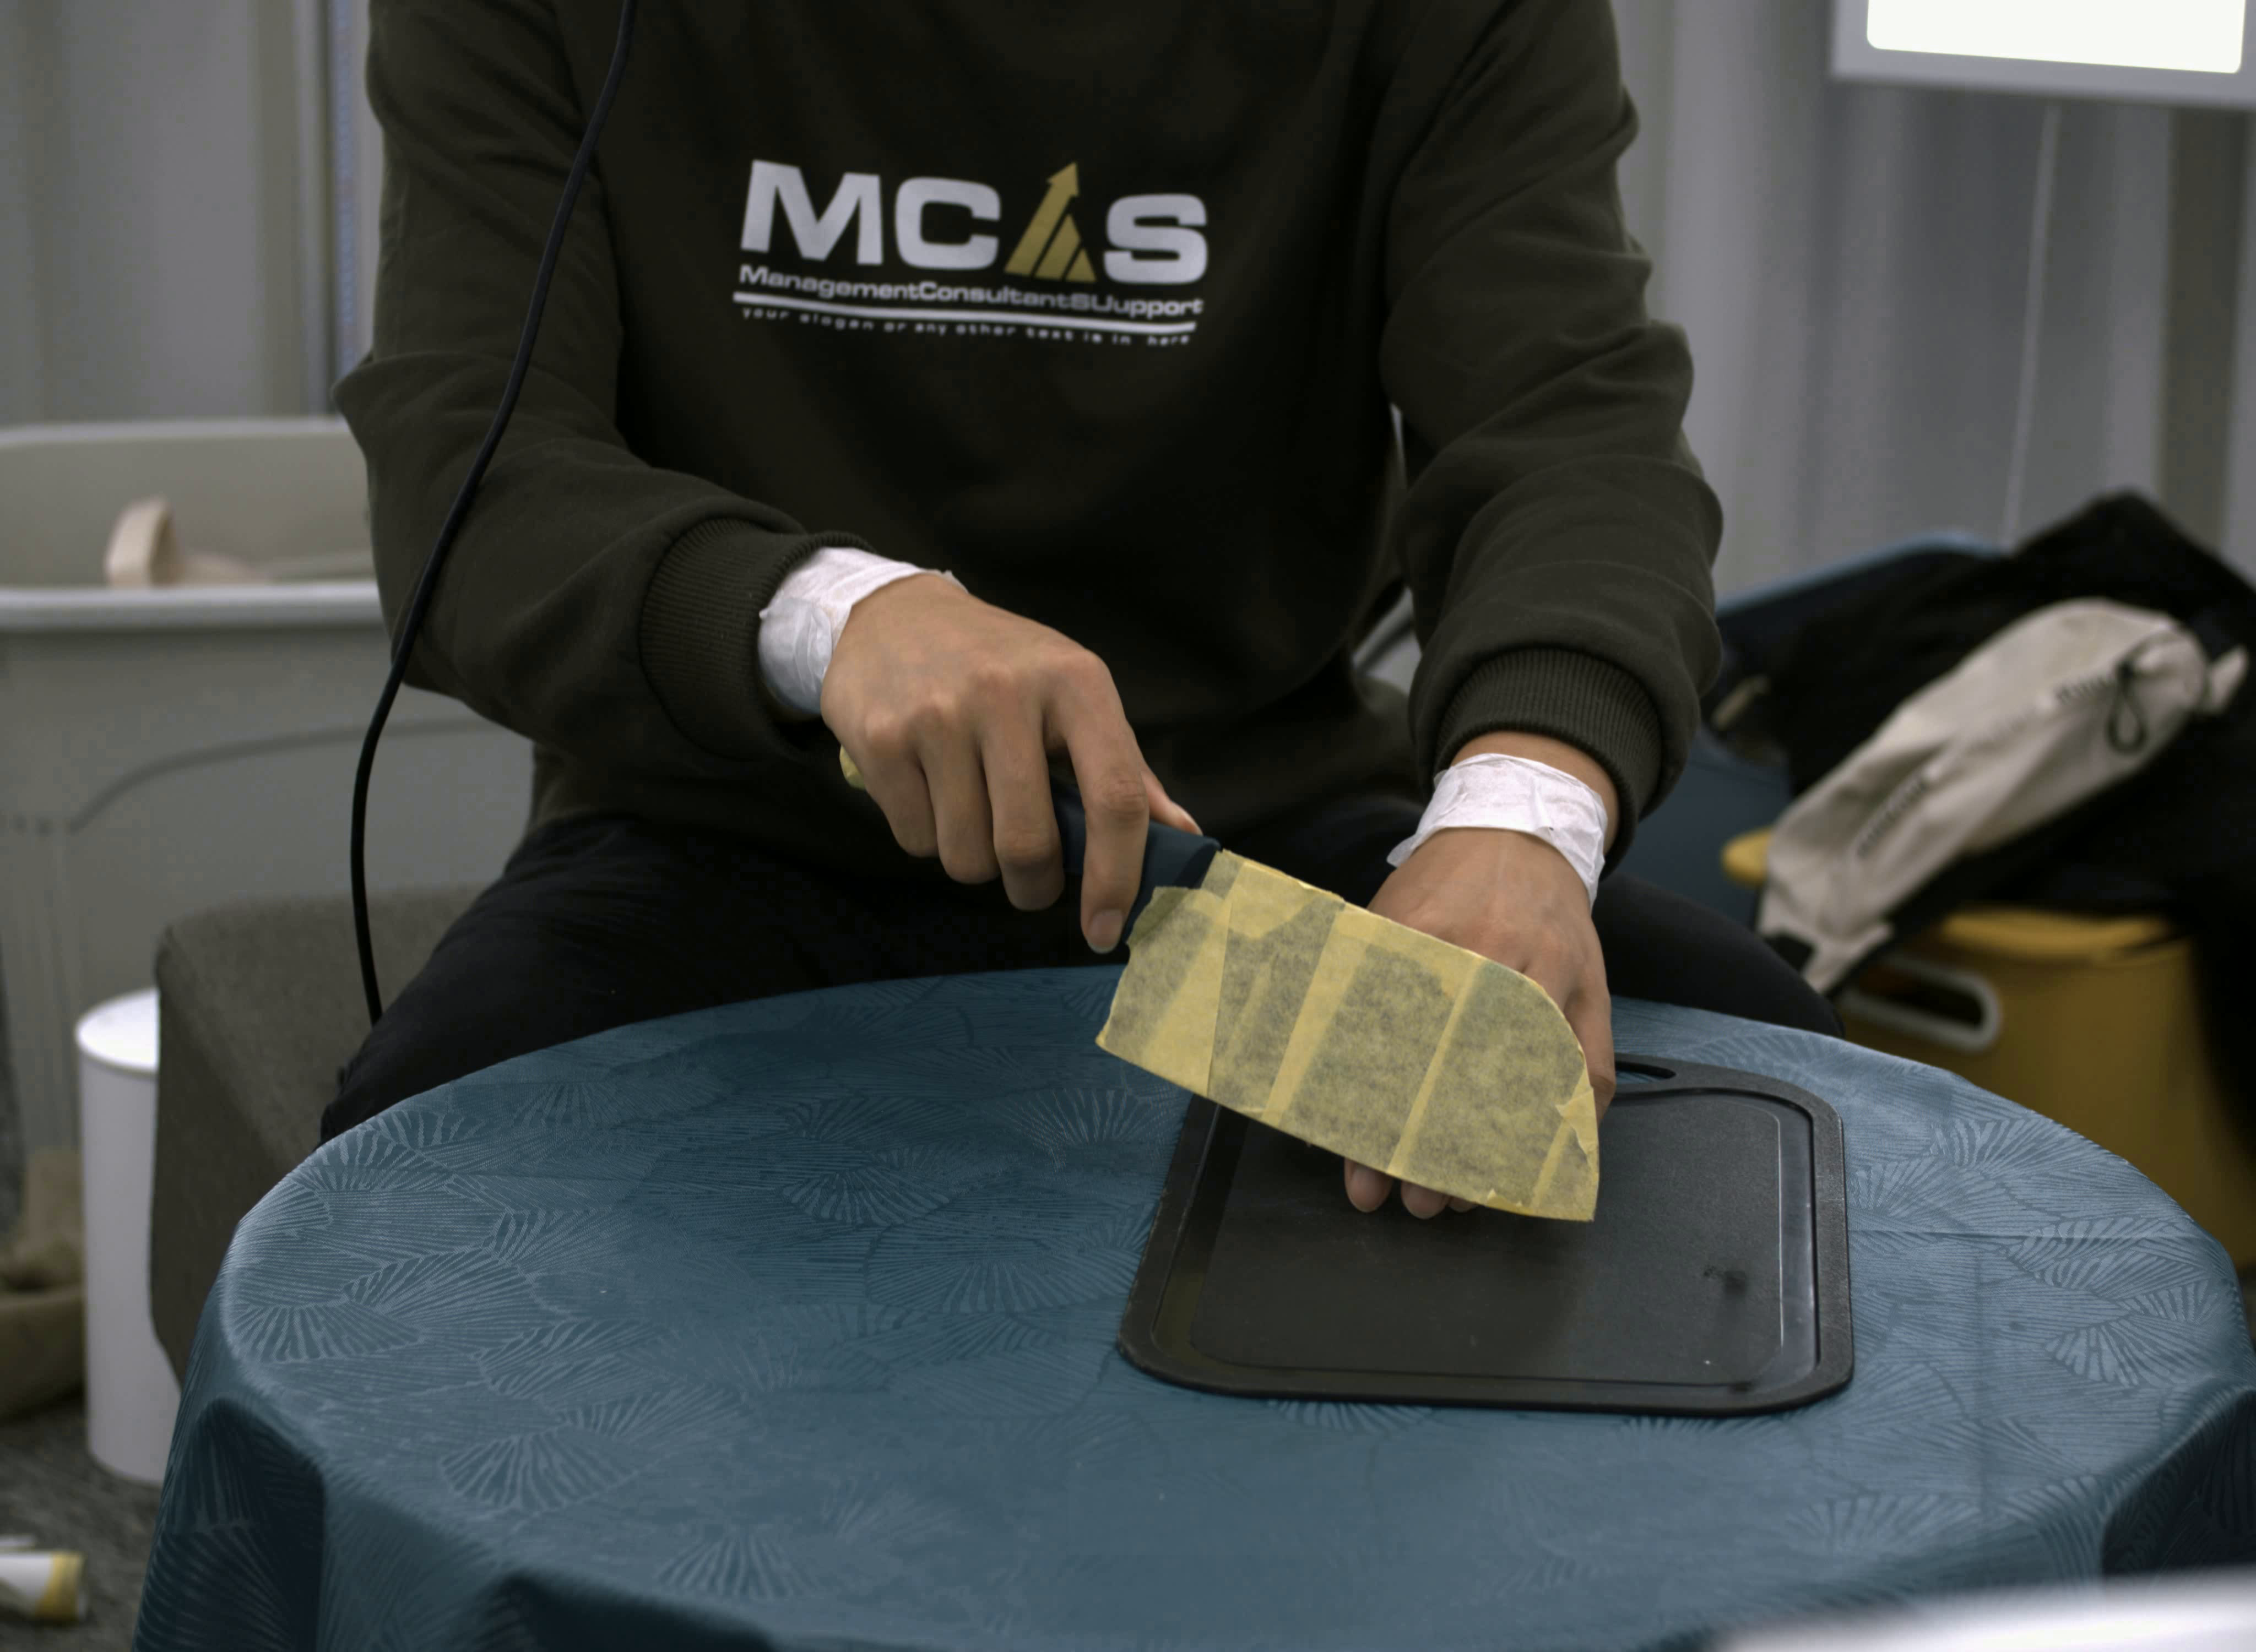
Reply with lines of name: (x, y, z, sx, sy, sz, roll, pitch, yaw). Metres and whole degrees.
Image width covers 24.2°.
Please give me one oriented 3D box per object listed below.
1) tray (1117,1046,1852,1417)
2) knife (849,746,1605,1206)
tray: (0.113, 0.115, 1.605, 0.210, 0.010, 0.324, 2, 16, 6)
knife: (0.025, 0.043, 1.625, 0.286, 0.081, 0.027, 26, 1, 26)
